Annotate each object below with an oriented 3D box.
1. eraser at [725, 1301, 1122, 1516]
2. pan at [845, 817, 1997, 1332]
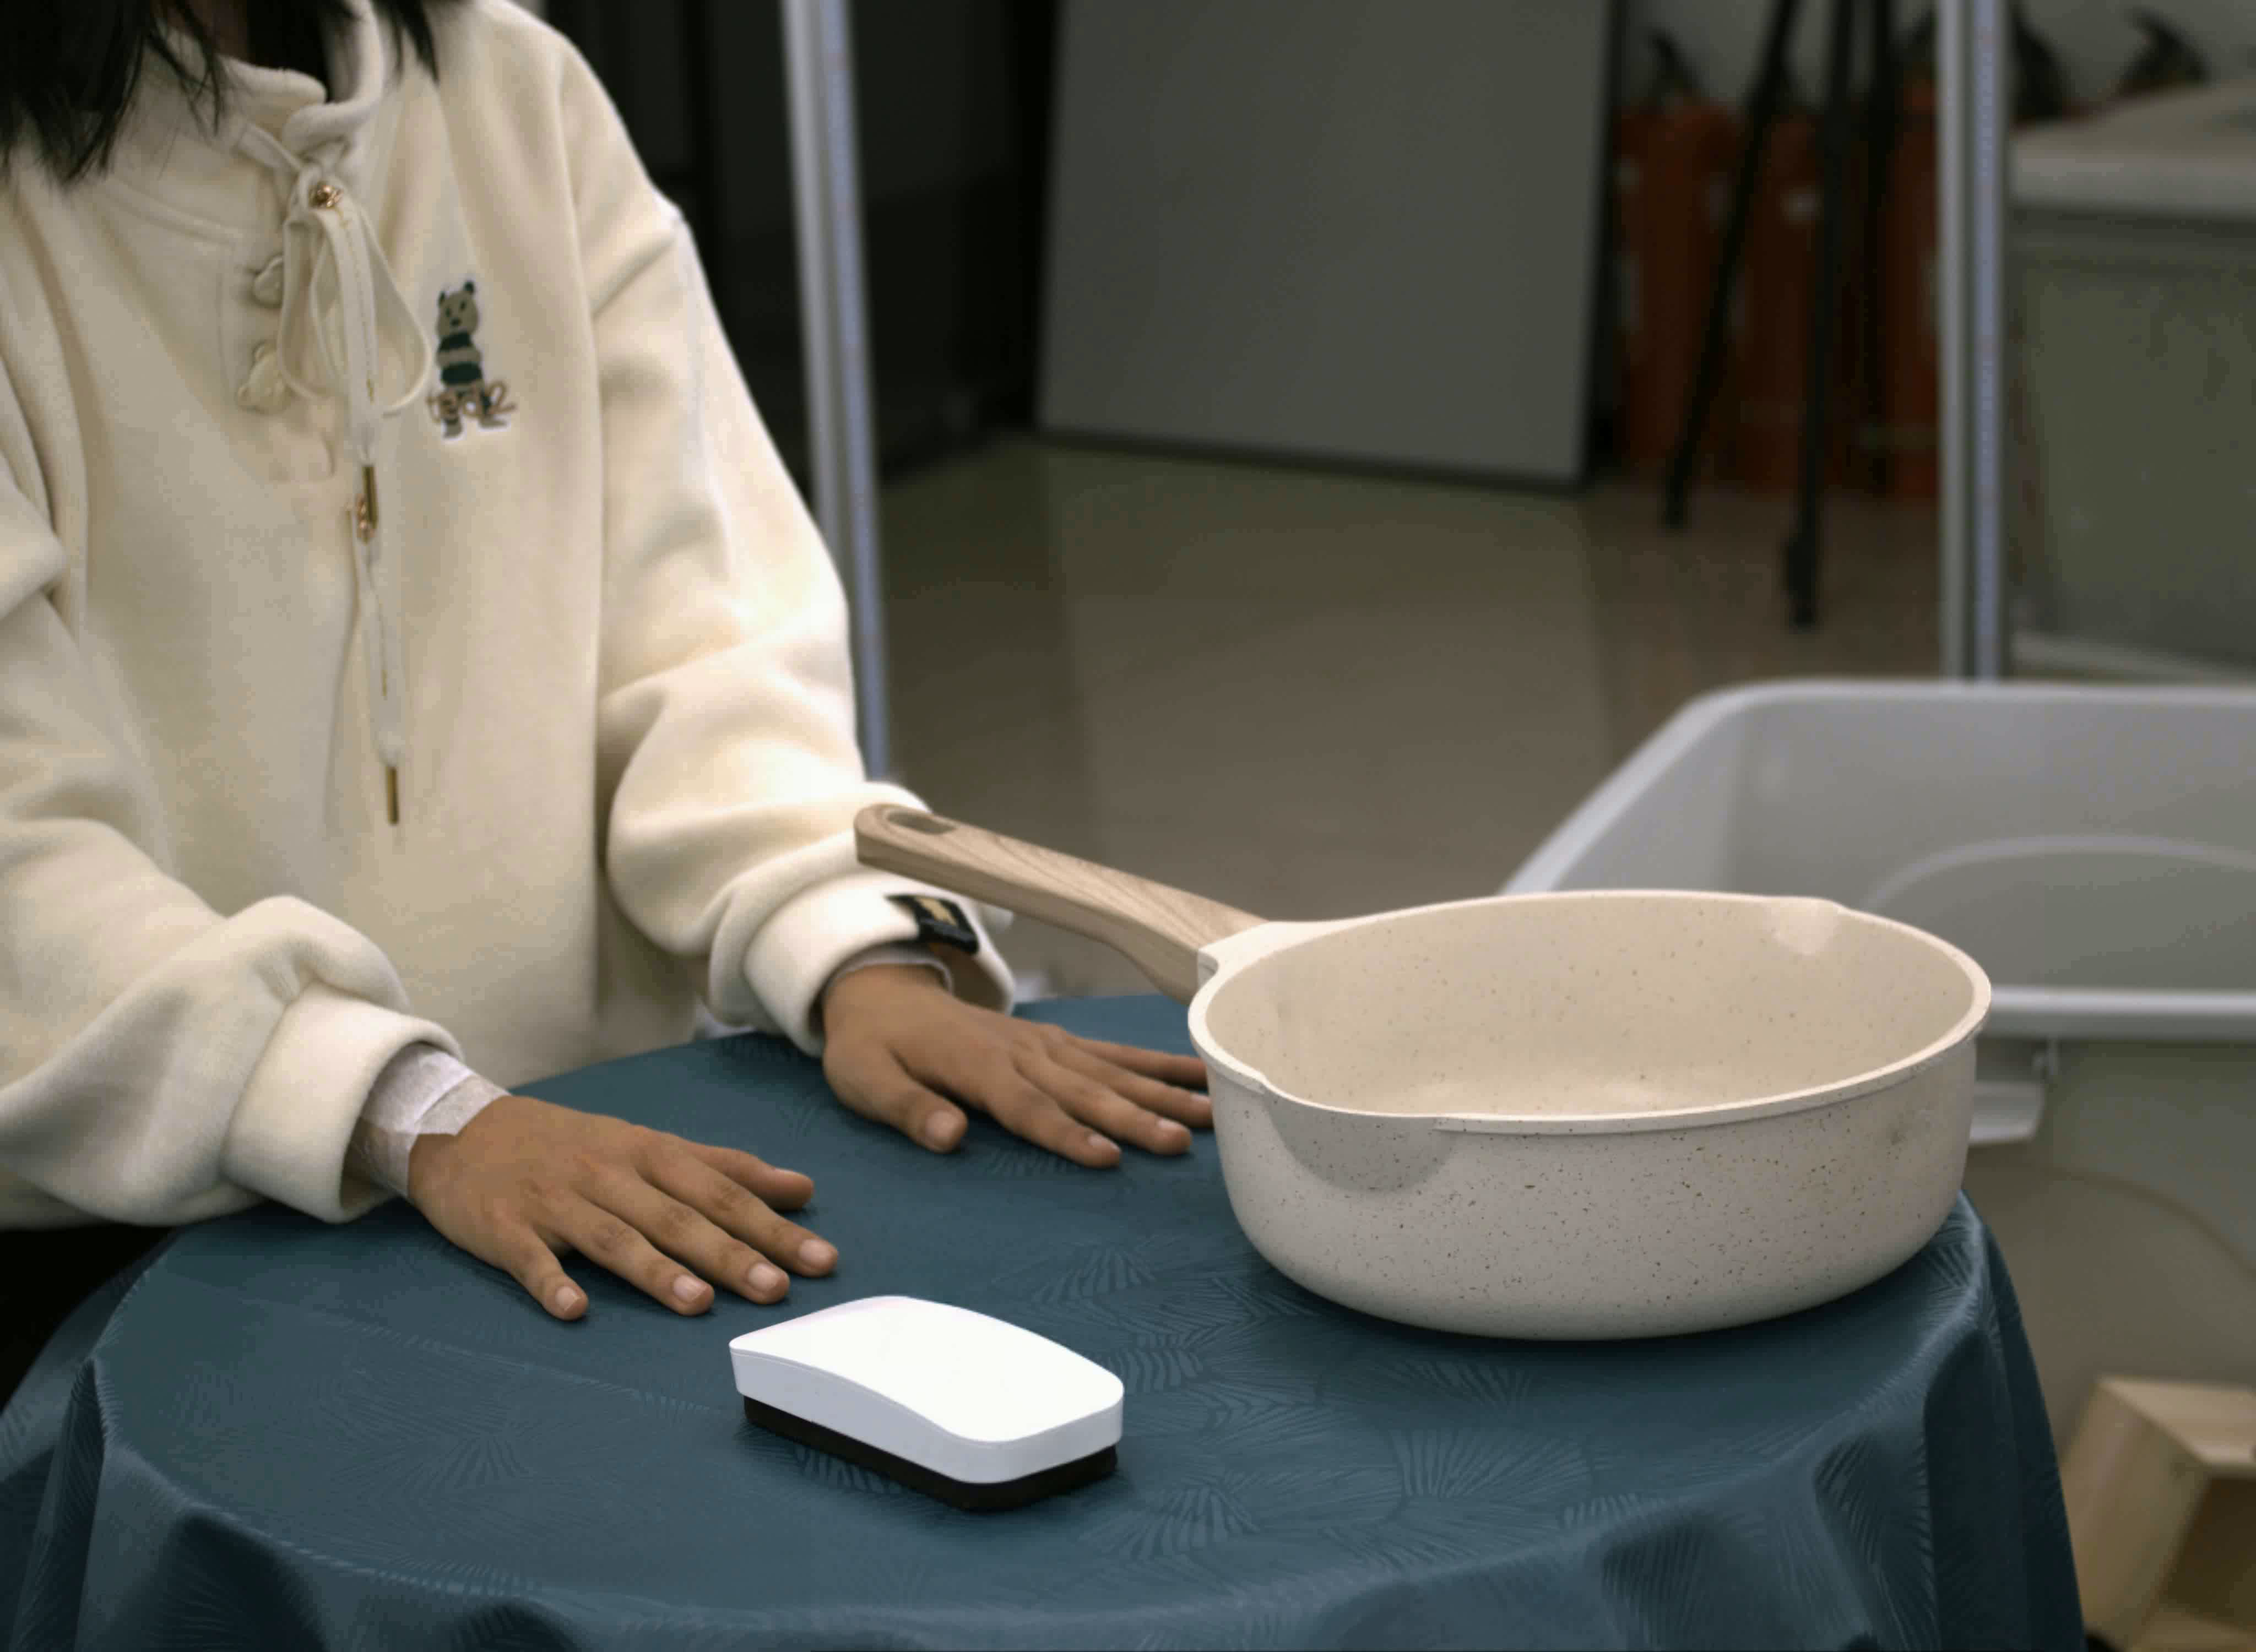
[{"bbox_3d":[-0.058,0.164,1.551,0.062,0.035,0.132,-11,15,-37],"label":"eraser"},{"bbox_3d":[0.077,0.070,1.739,0.438,0.103,0.258,8,19,40],"label":"pan"}]
